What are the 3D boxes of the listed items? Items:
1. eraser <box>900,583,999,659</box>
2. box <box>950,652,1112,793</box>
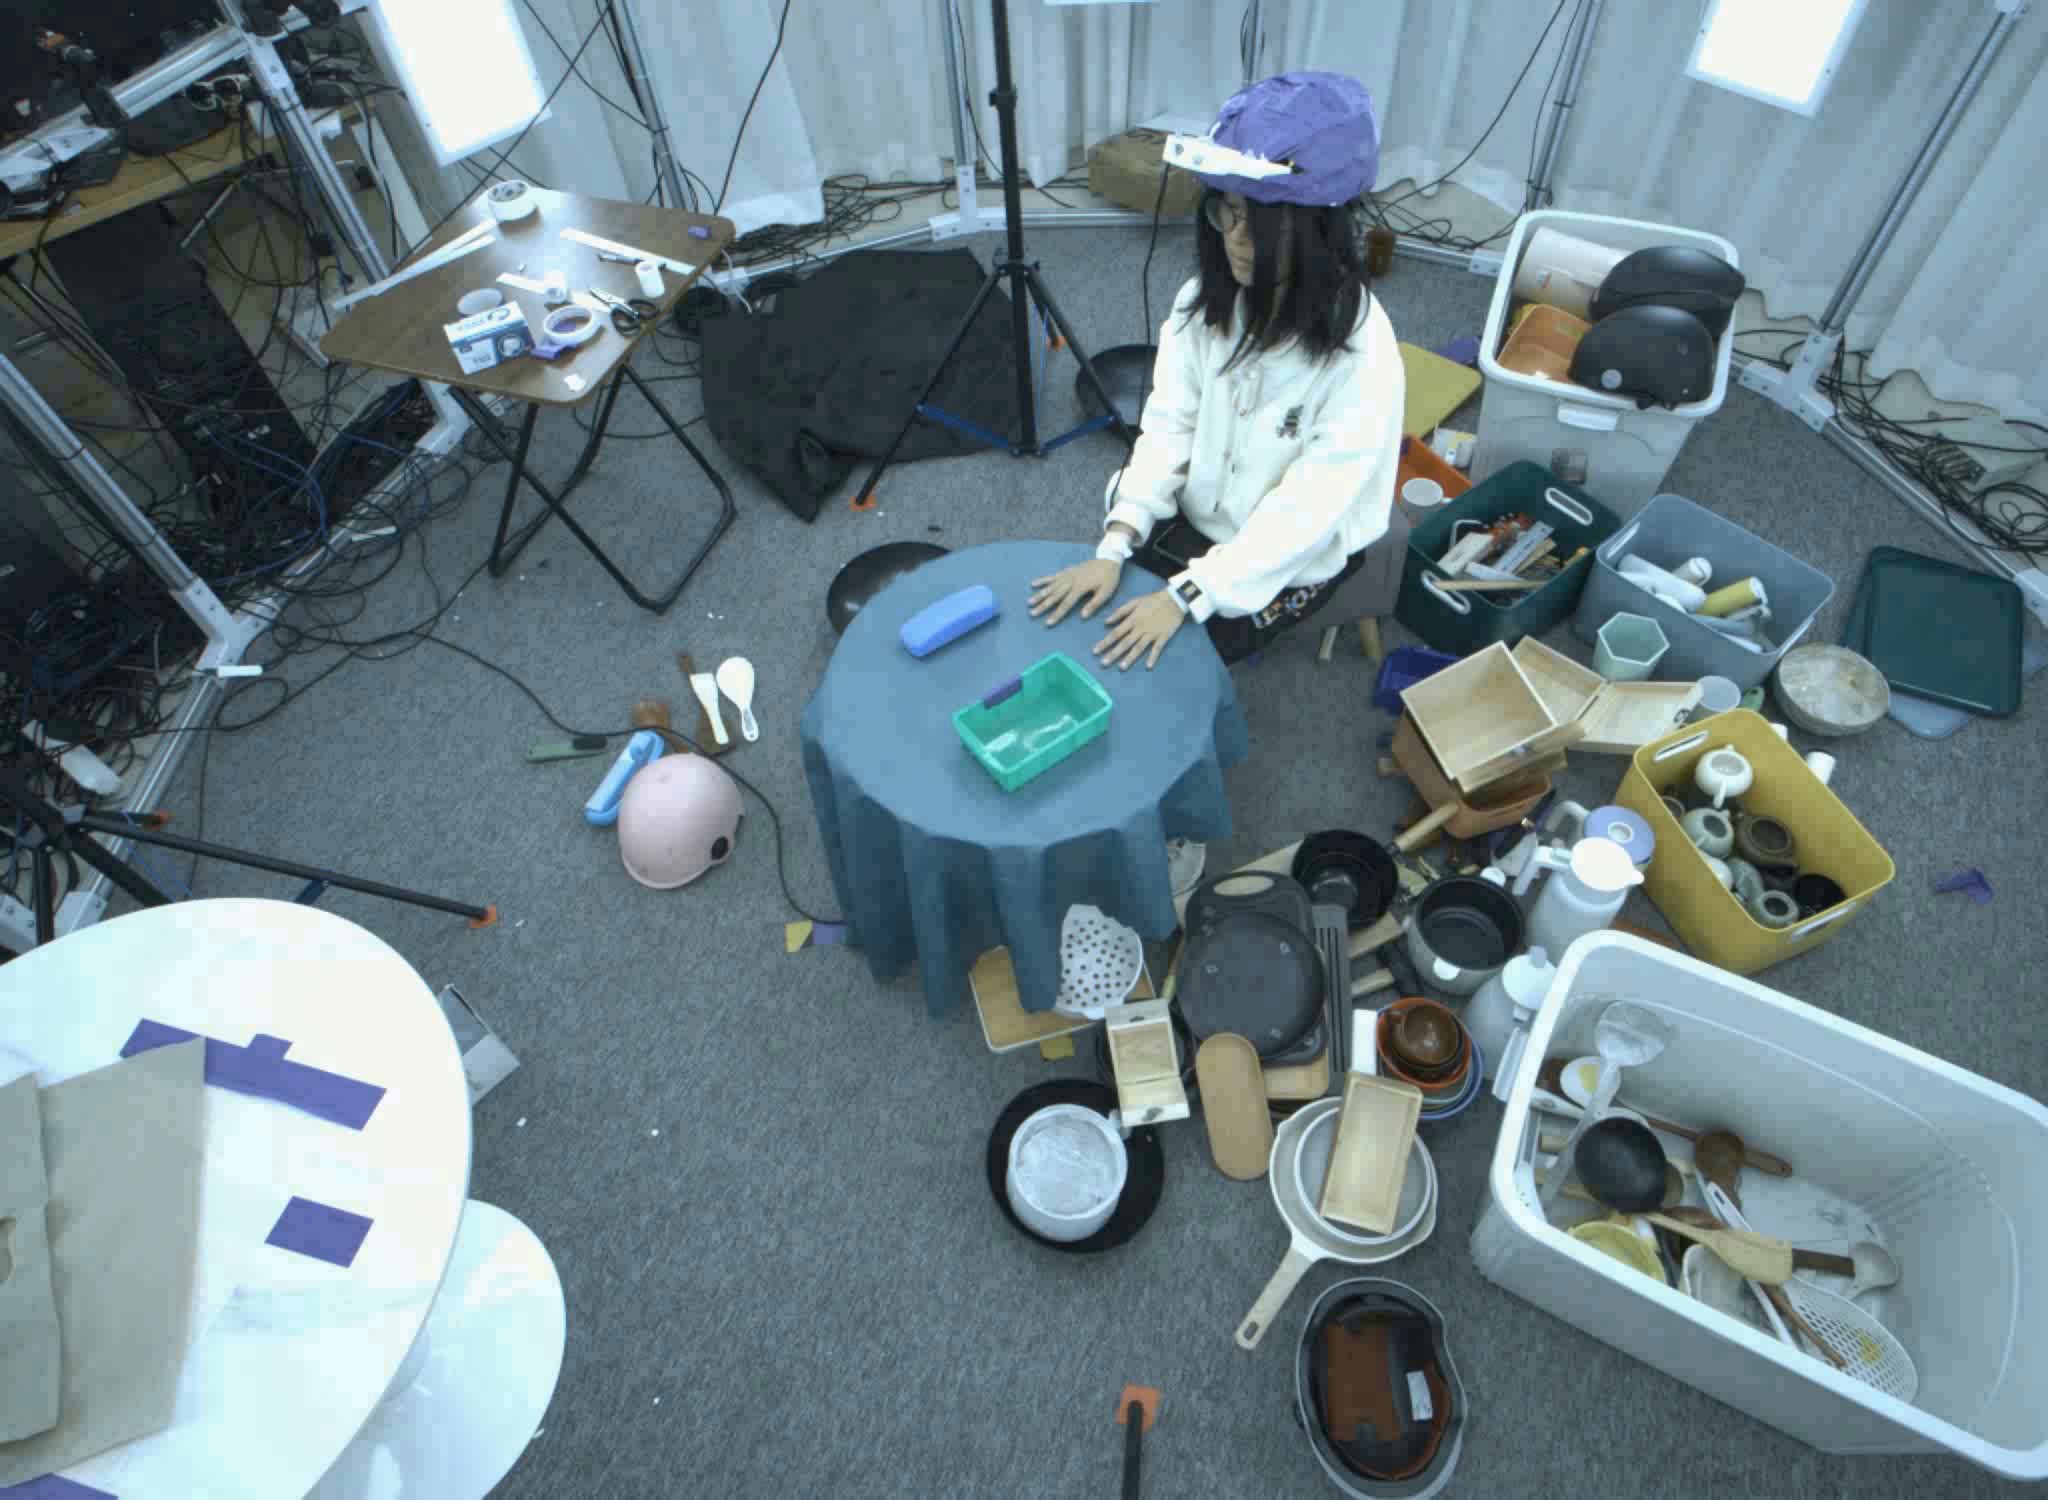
[{"bbox_3d":[-0.117,-0.206,1.909,0.163,0.048,0.053,-32,59,-19],"label":"eraser"},{"bbox_3d":[0.012,-0.037,1.776,0.212,0.066,0.136,-34,58,-20],"label":"box"}]
